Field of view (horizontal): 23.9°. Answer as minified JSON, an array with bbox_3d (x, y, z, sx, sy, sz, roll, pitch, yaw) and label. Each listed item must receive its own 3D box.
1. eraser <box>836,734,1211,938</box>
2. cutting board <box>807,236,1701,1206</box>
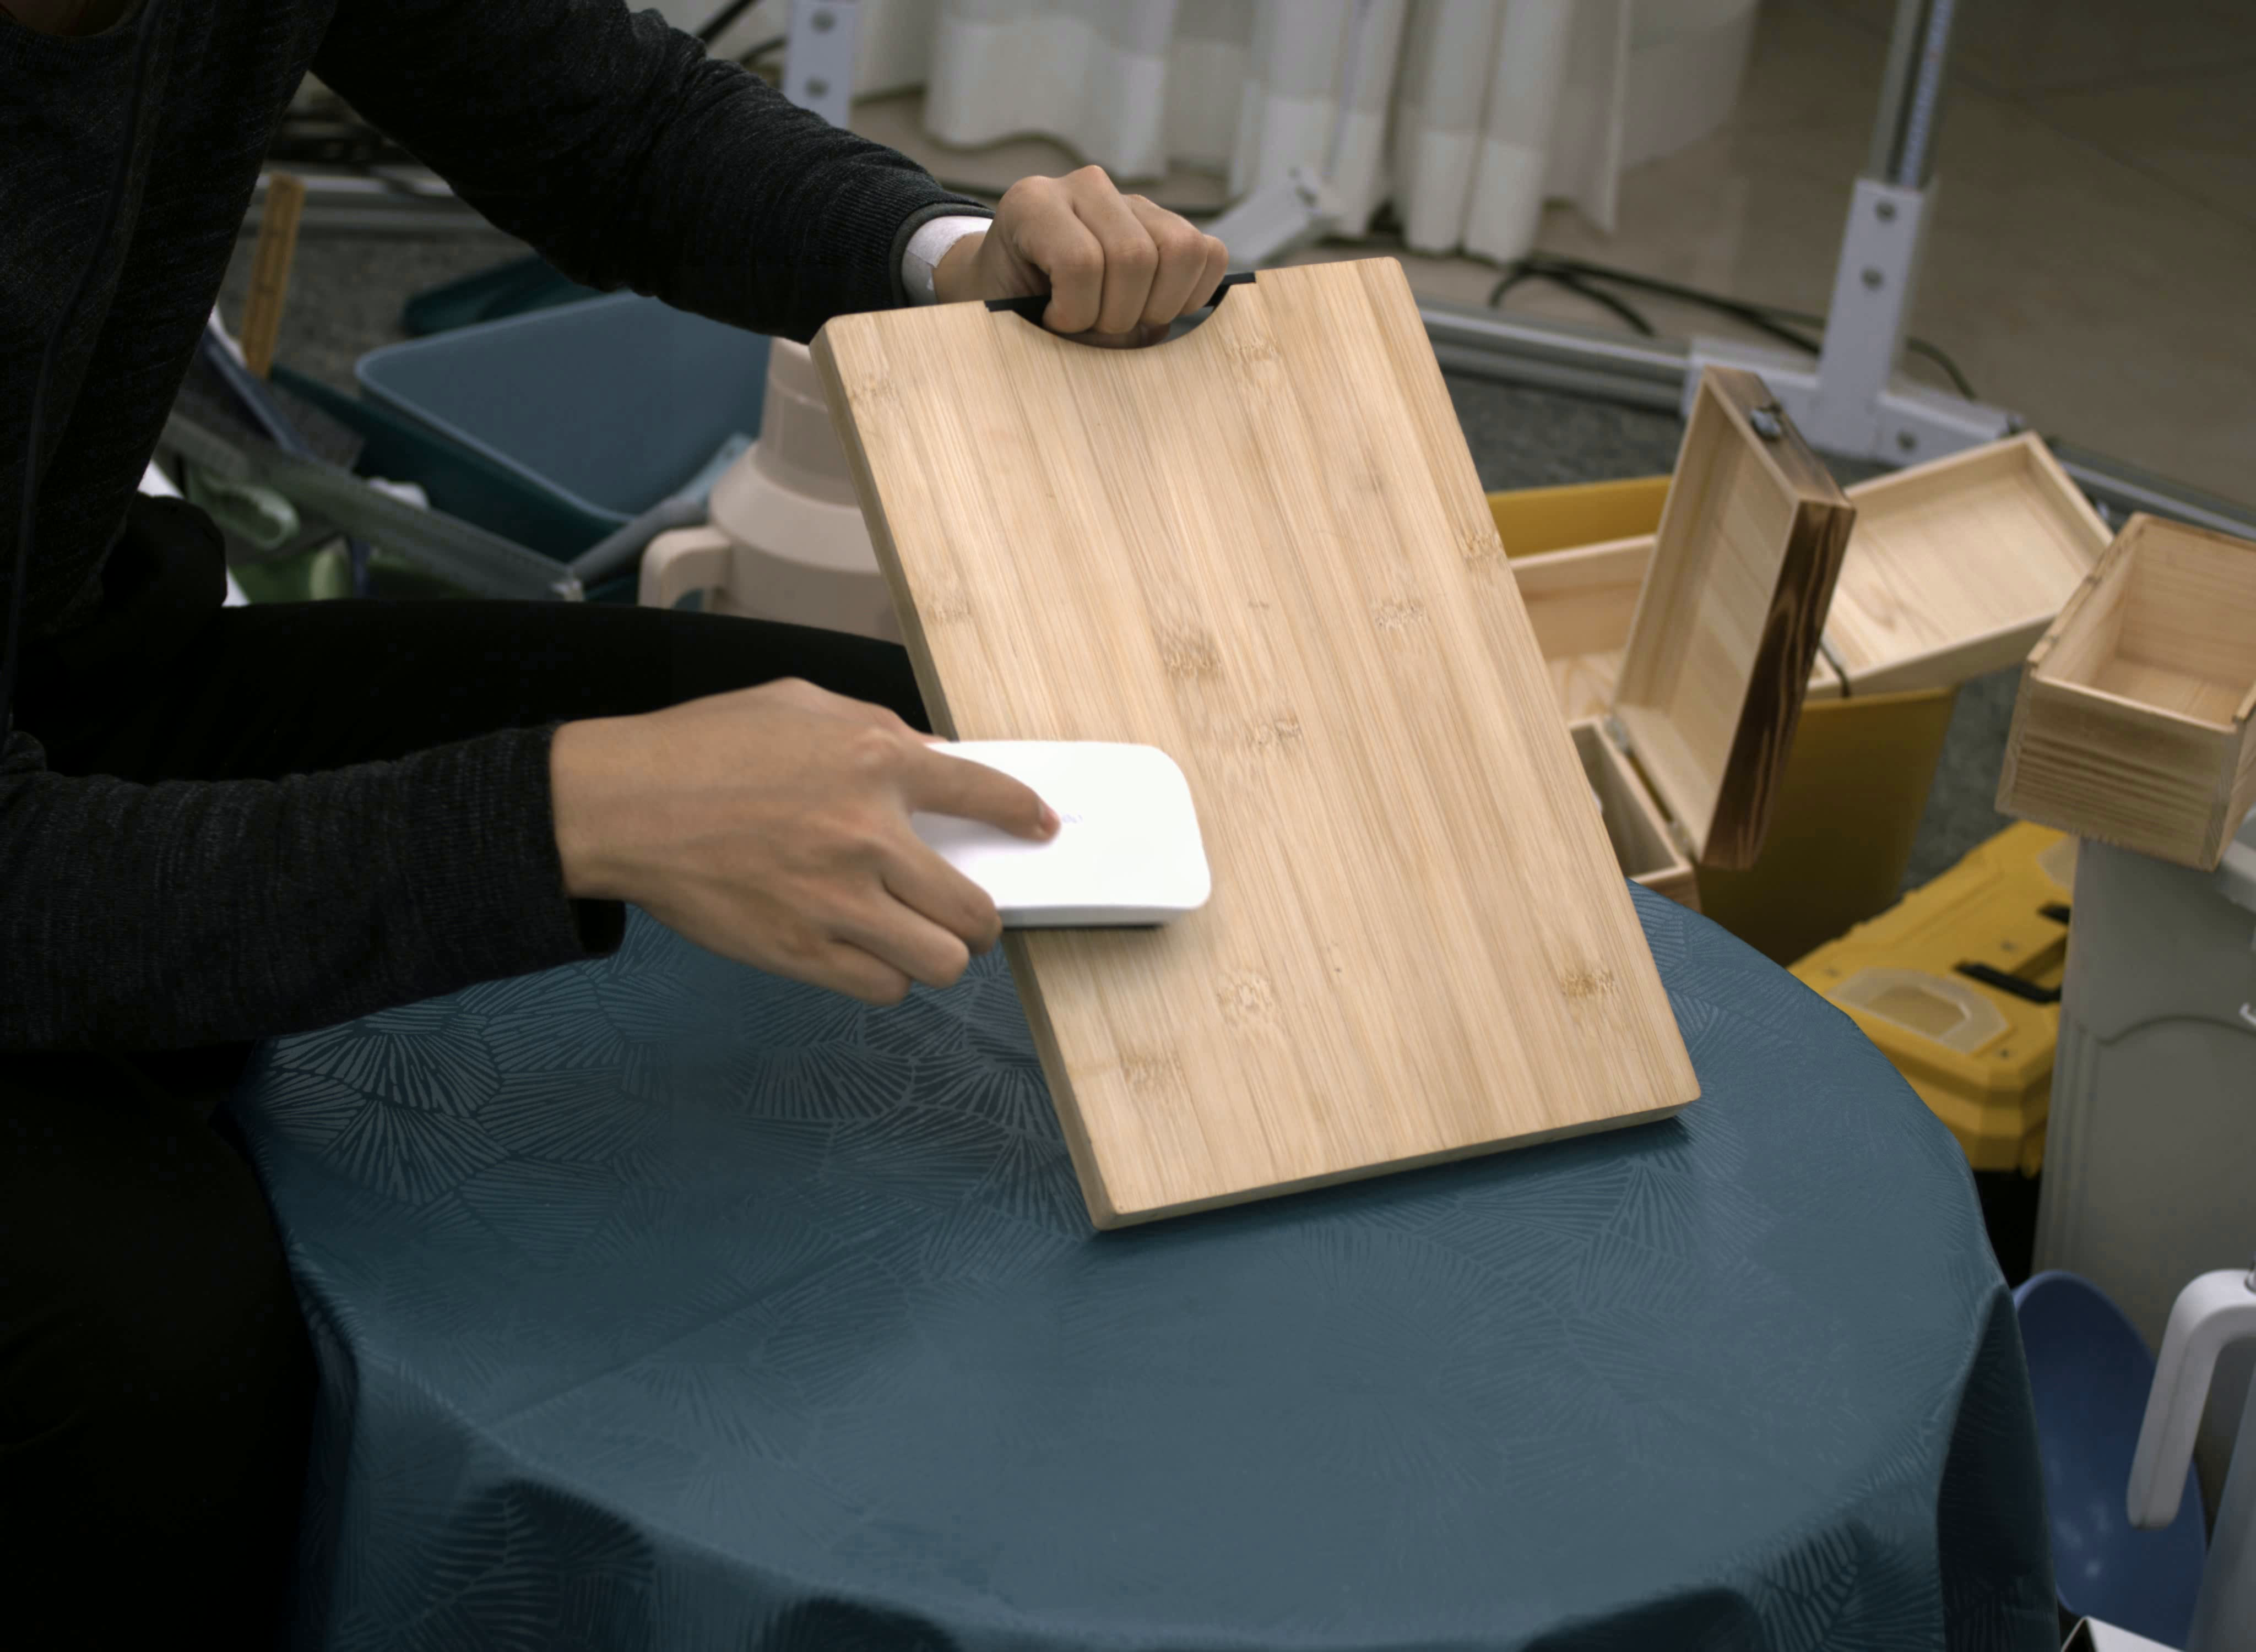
[{"bbox_3d":[-0.034,0.005,1.783,0.130,0.034,0.064,1,64,-32],"label":"eraser"},{"bbox_3d":[0.043,-0.043,1.879,0.249,0.023,0.351,-9,70,-28],"label":"cutting board"}]
